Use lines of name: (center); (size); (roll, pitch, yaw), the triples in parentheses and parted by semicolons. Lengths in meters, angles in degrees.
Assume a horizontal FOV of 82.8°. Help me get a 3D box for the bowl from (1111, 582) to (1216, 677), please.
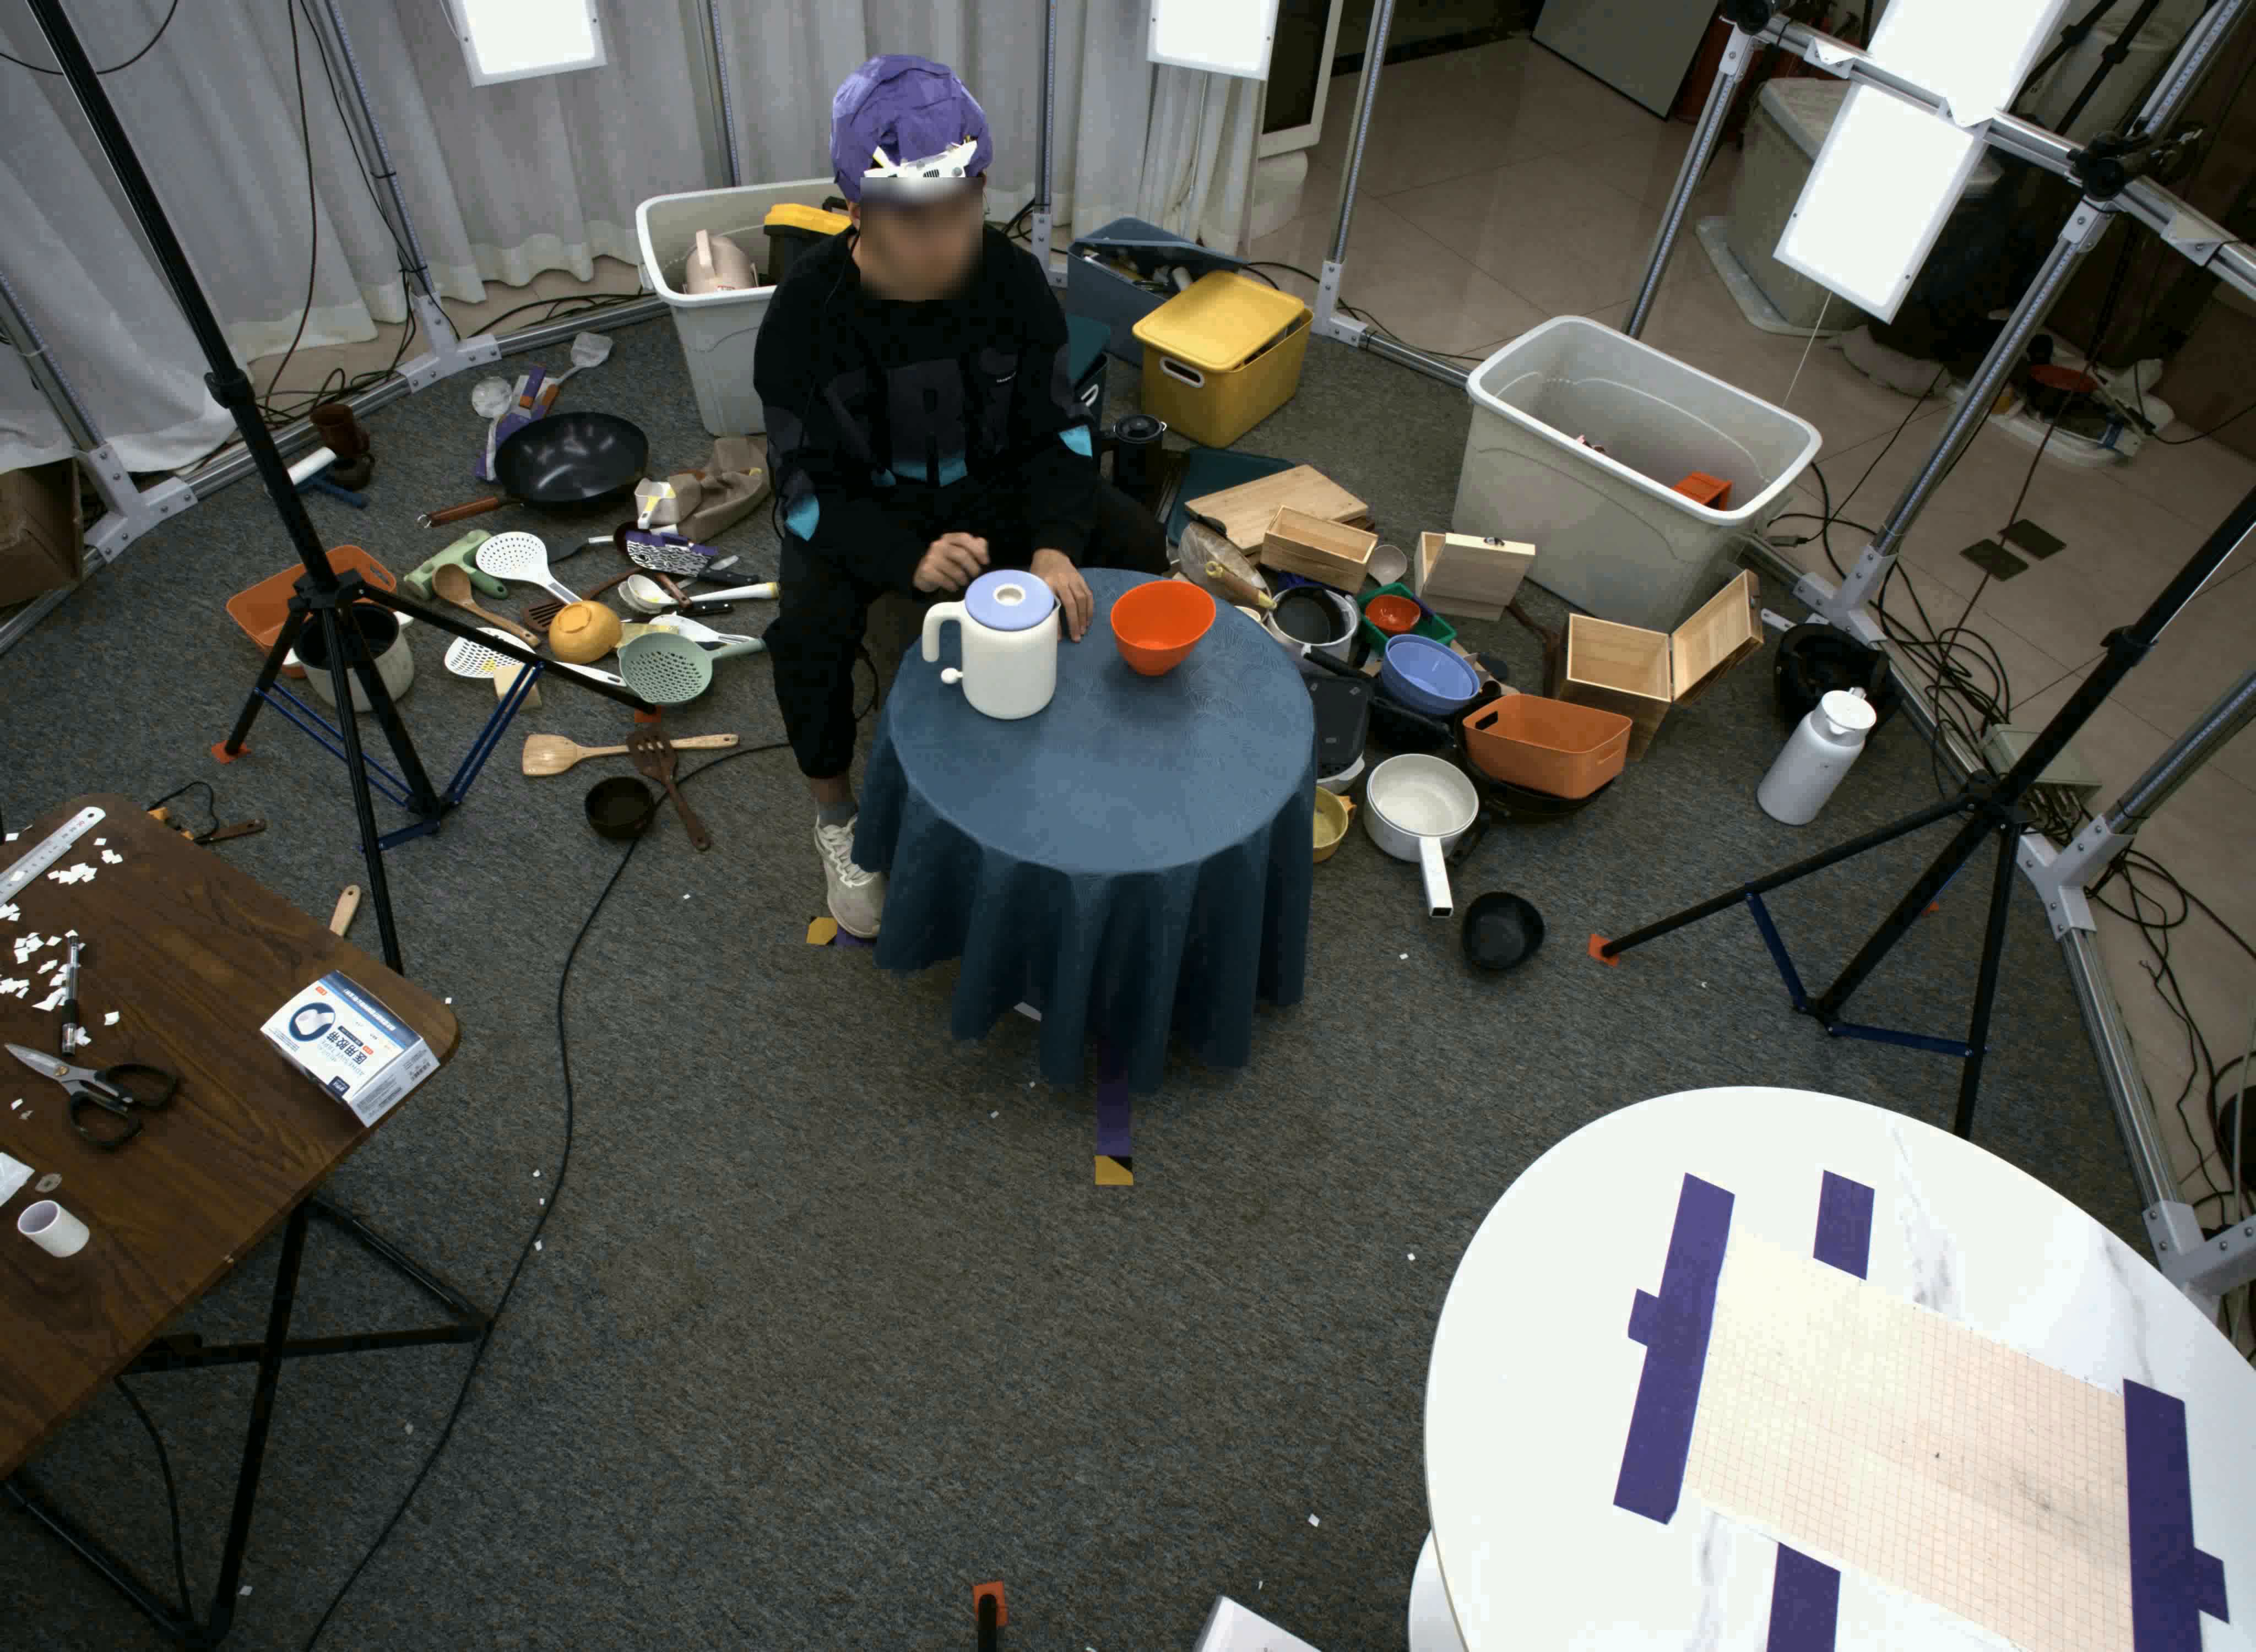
bowl: (0.047, -0.271, 1.841); (0.148, 0.102, 0.152); (2, 49, -3)

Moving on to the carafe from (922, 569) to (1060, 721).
carafe: (-0.186, -0.247, 1.761); (0.191, 0.178, 0.135); (-1, 48, -1)
